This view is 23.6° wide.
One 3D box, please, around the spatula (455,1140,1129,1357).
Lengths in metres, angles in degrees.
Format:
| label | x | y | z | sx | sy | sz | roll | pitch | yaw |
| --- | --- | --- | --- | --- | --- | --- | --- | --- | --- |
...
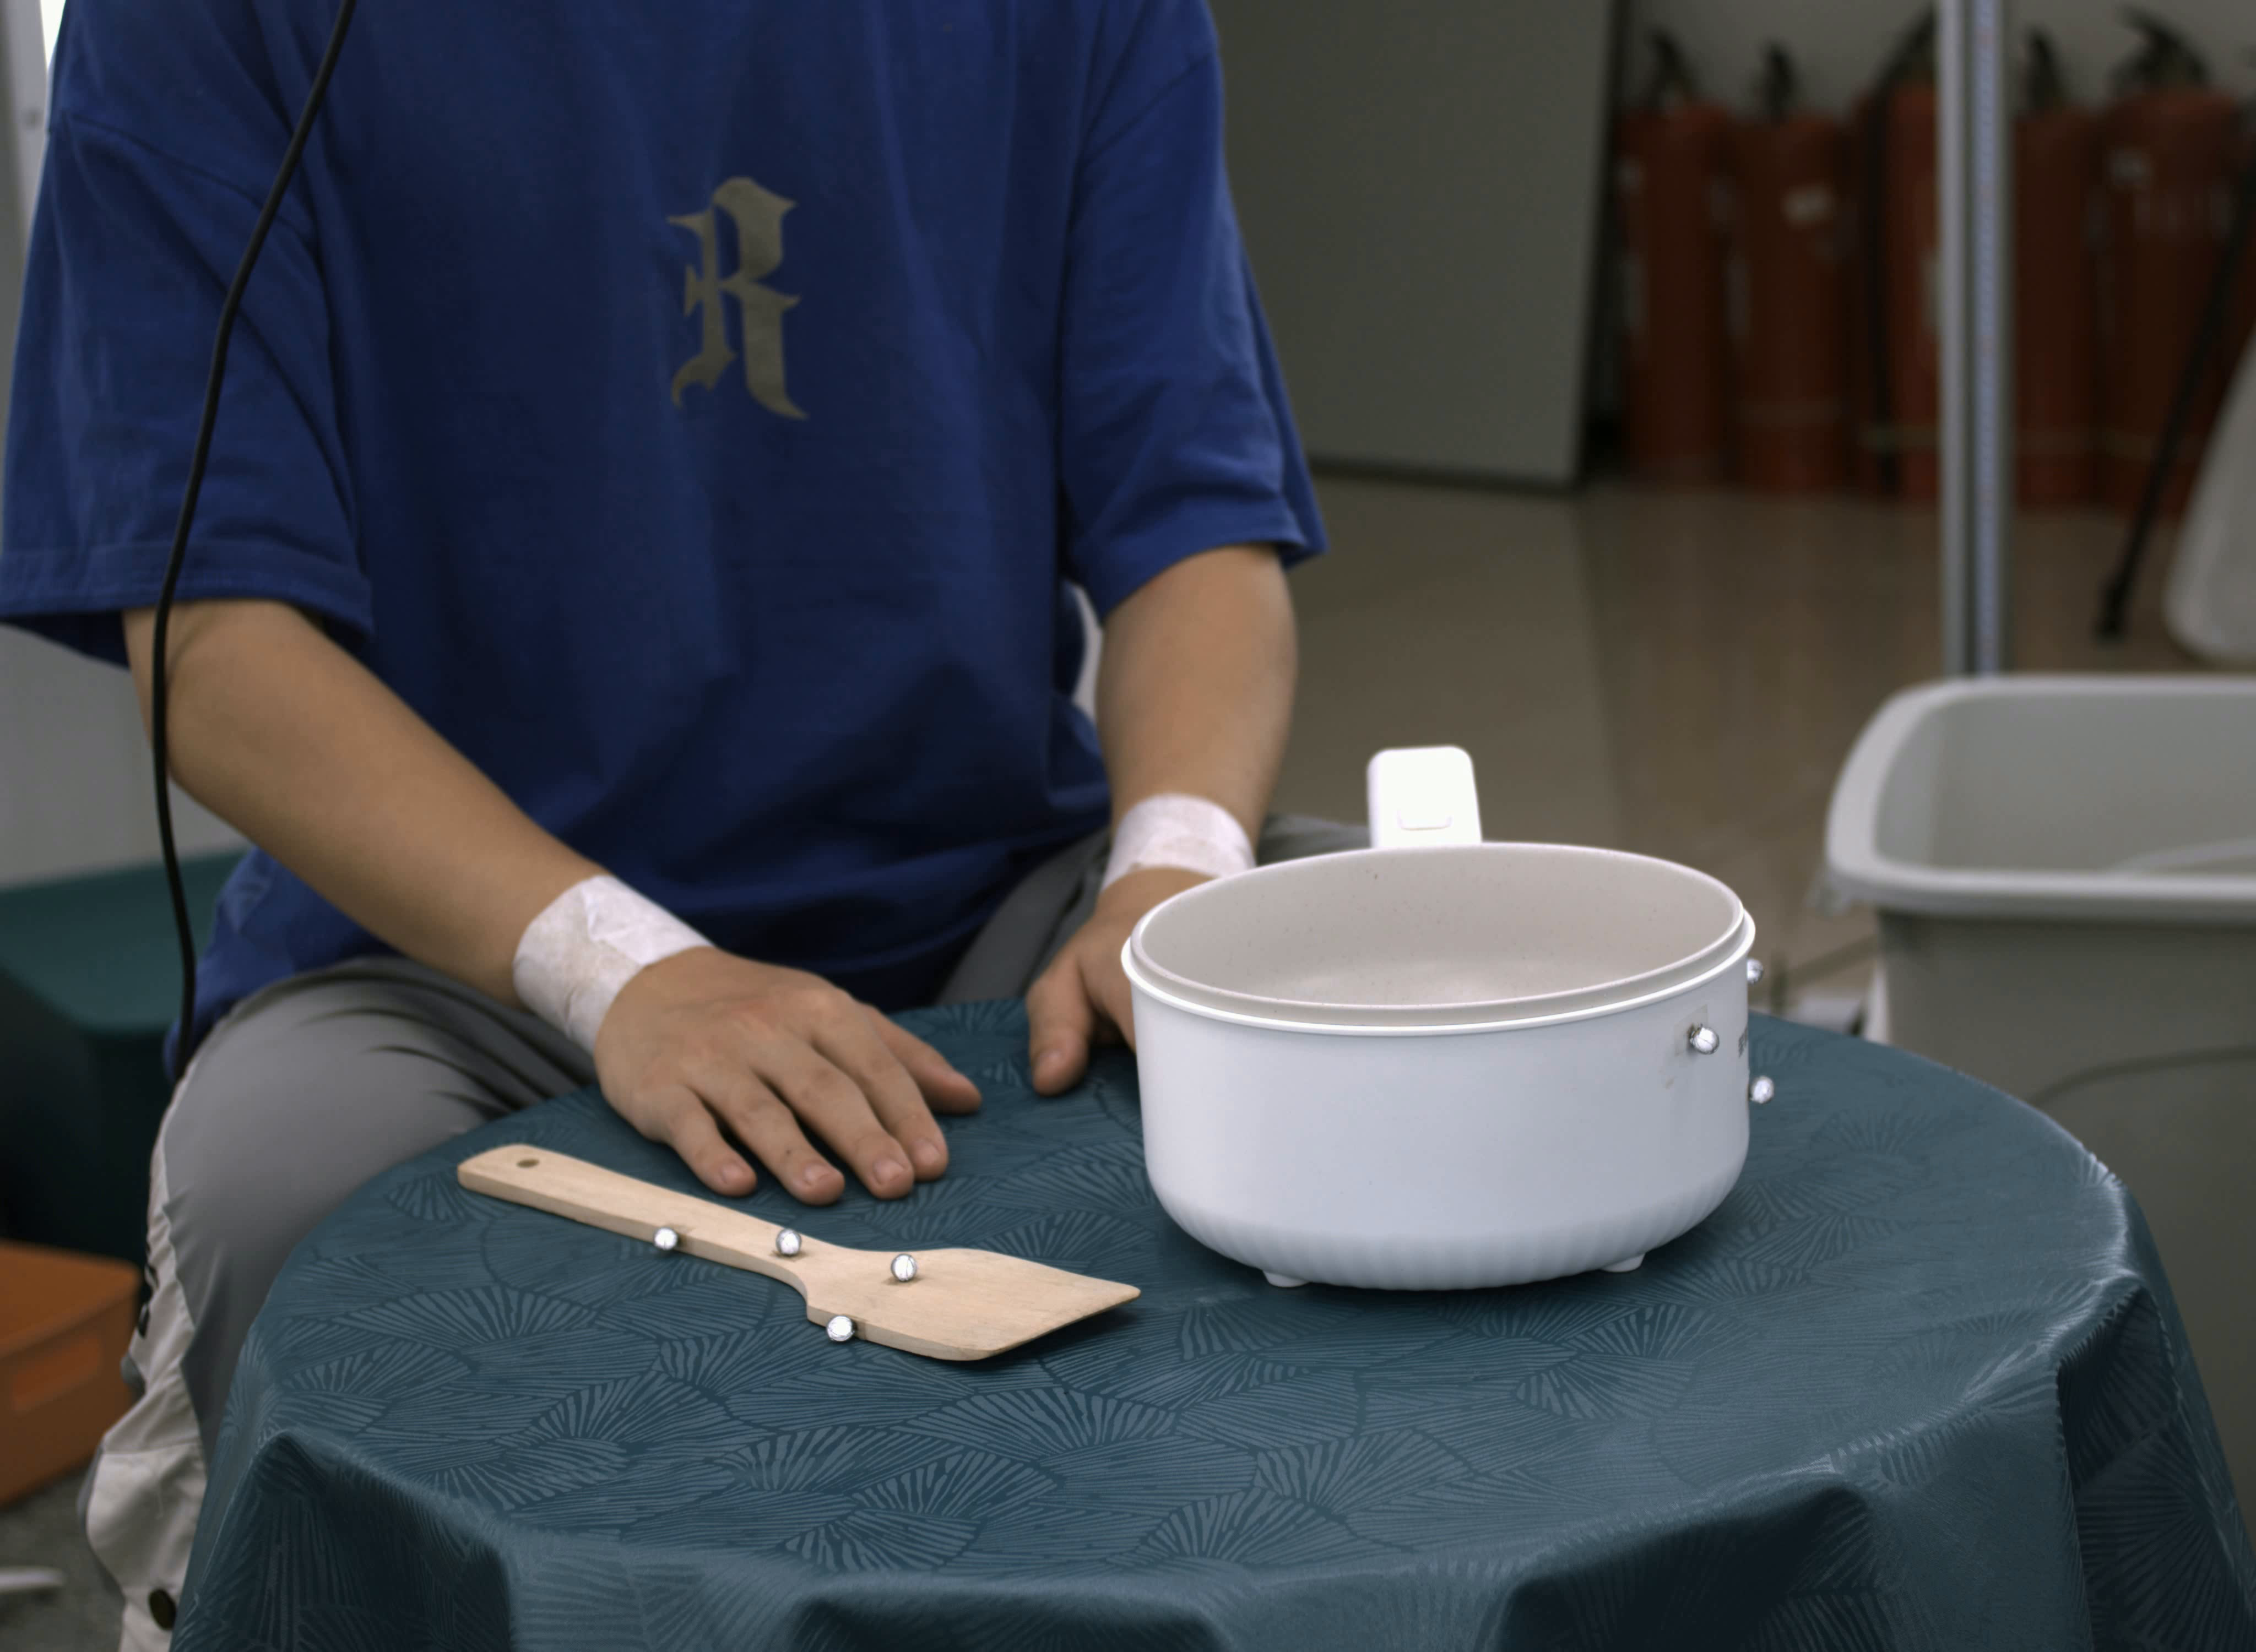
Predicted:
| label | x | y | z | sx | sy | sz | roll | pitch | yaw |
| --- | --- | --- | --- | --- | --- | --- | --- | --- | --- |
| spatula | -0.122 | 0.133 | 1.734 | 0.071 | 0.011 | 0.296 | -18 | 20 | -40 |

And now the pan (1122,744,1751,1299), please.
| label | x | y | z | sx | sy | sz | roll | pitch | yaw |
| --- | --- | --- | --- | --- | --- | --- | --- | --- | --- |
| pan | 0.103 | 0.060 | 1.782 | 0.199 | 0.103 | 0.355 | -5 | 14 | 3 |
